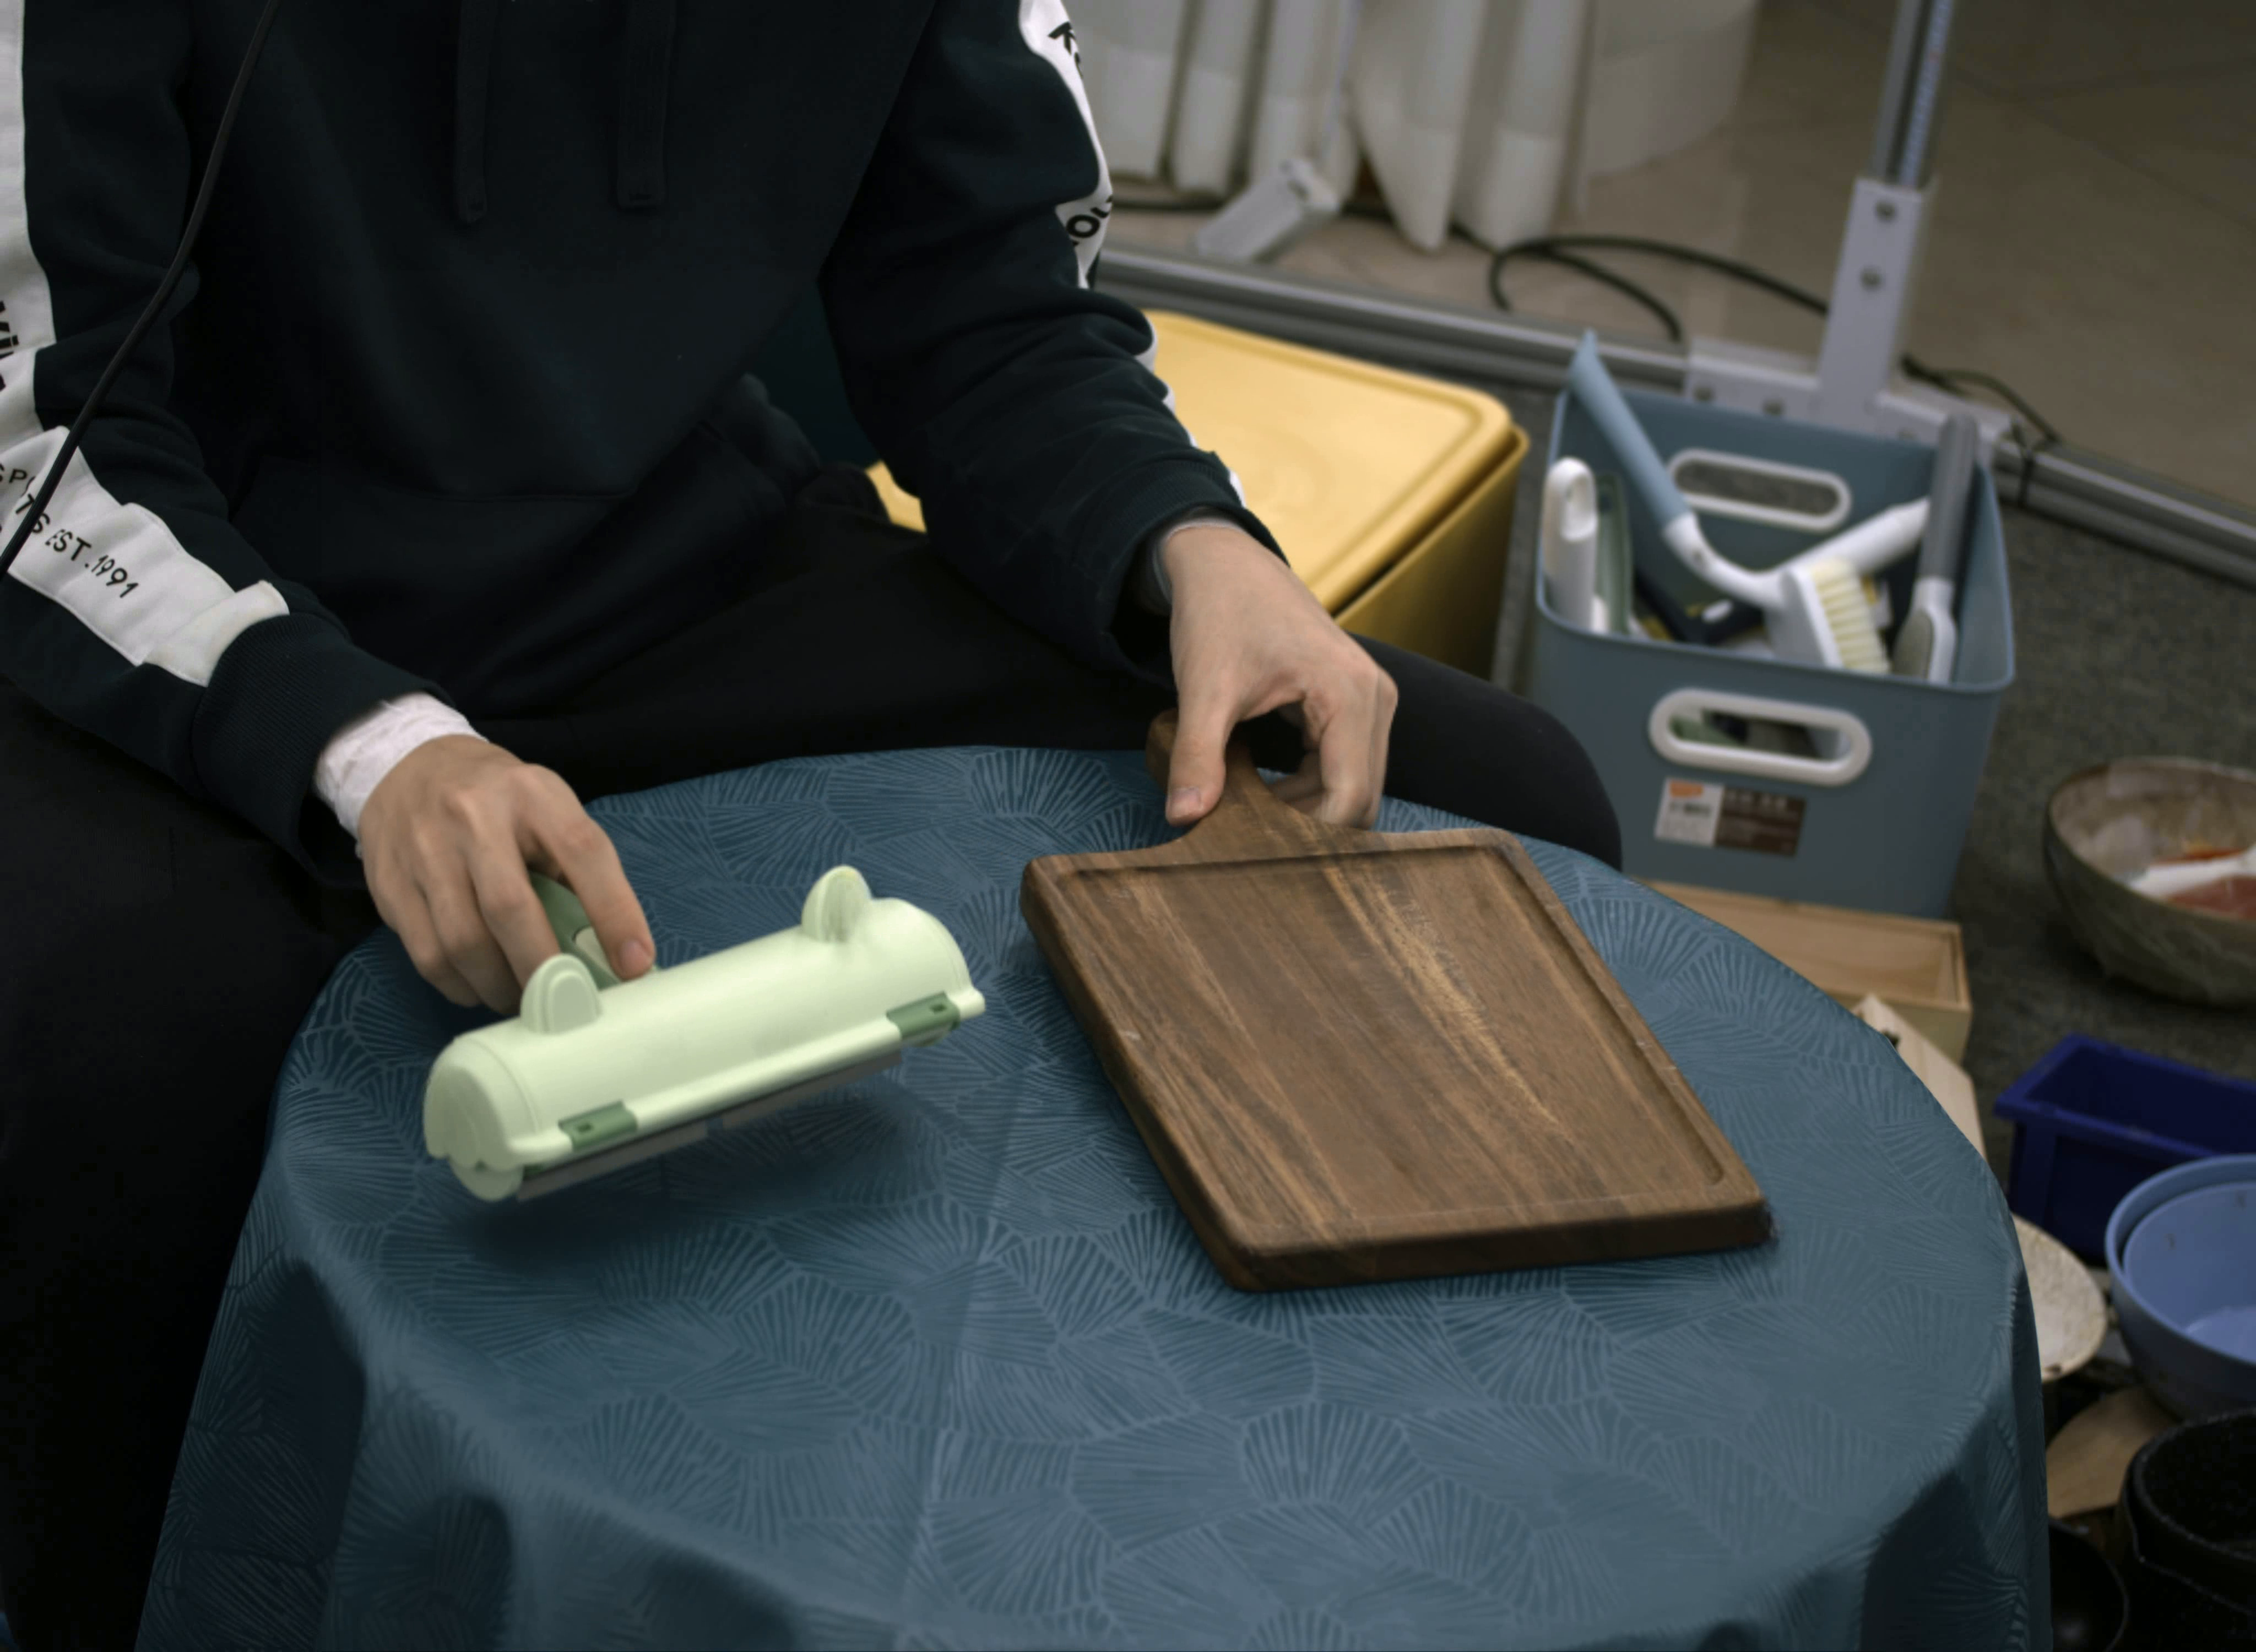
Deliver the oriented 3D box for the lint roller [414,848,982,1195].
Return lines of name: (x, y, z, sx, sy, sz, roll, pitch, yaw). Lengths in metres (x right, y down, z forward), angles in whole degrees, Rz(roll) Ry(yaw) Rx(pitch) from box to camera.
lint roller: (-0.175, 0.036, 1.788, 0.197, 0.082, 0.185, -18, 43, -37)

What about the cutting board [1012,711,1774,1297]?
cutting board: (0.073, 0.053, 1.911, 0.200, 0.023, 0.355, -4, 31, -19)
